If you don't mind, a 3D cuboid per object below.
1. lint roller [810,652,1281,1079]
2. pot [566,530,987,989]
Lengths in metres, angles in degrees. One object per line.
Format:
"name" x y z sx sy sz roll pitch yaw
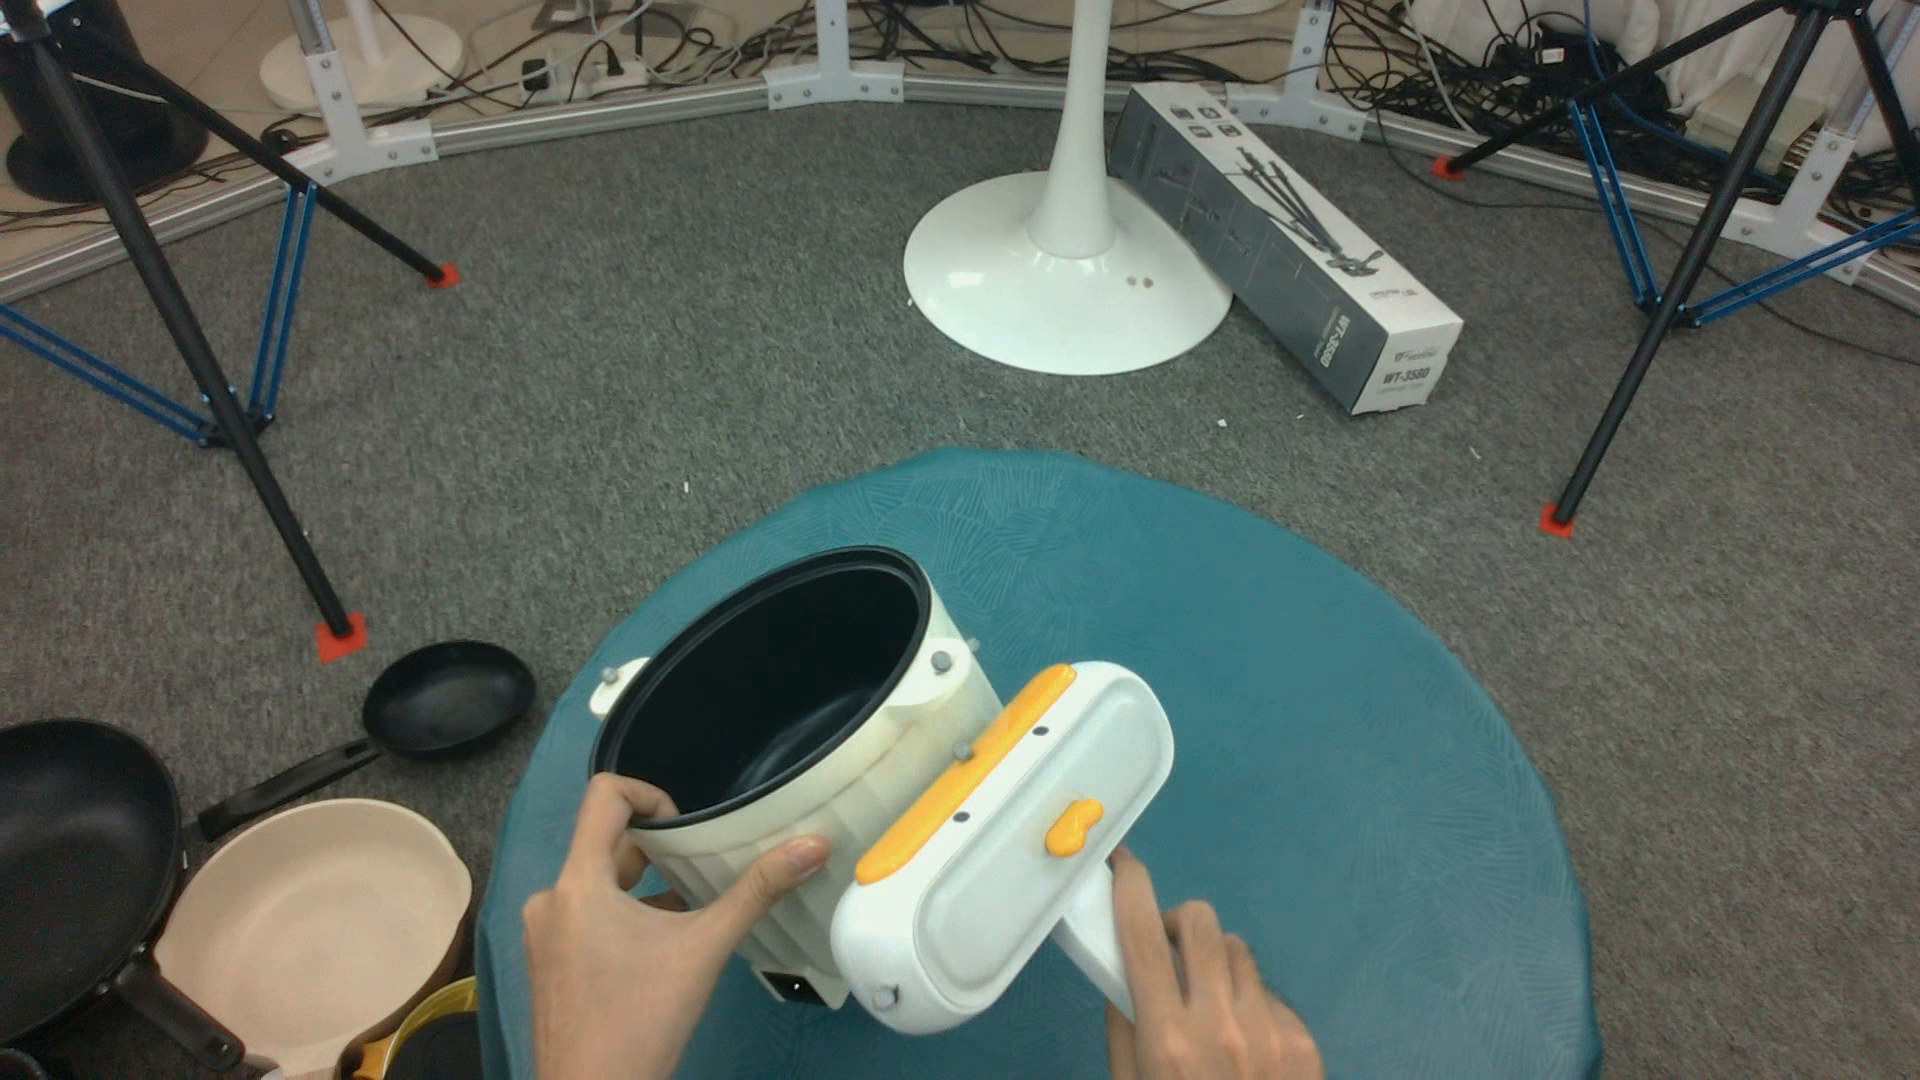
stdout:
"lint roller" 0.055 0.161 0.572 0.192 0.074 0.194 51 44 -8
"pot" -0.072 0.100 0.670 0.239 0.142 0.191 -5 40 35
